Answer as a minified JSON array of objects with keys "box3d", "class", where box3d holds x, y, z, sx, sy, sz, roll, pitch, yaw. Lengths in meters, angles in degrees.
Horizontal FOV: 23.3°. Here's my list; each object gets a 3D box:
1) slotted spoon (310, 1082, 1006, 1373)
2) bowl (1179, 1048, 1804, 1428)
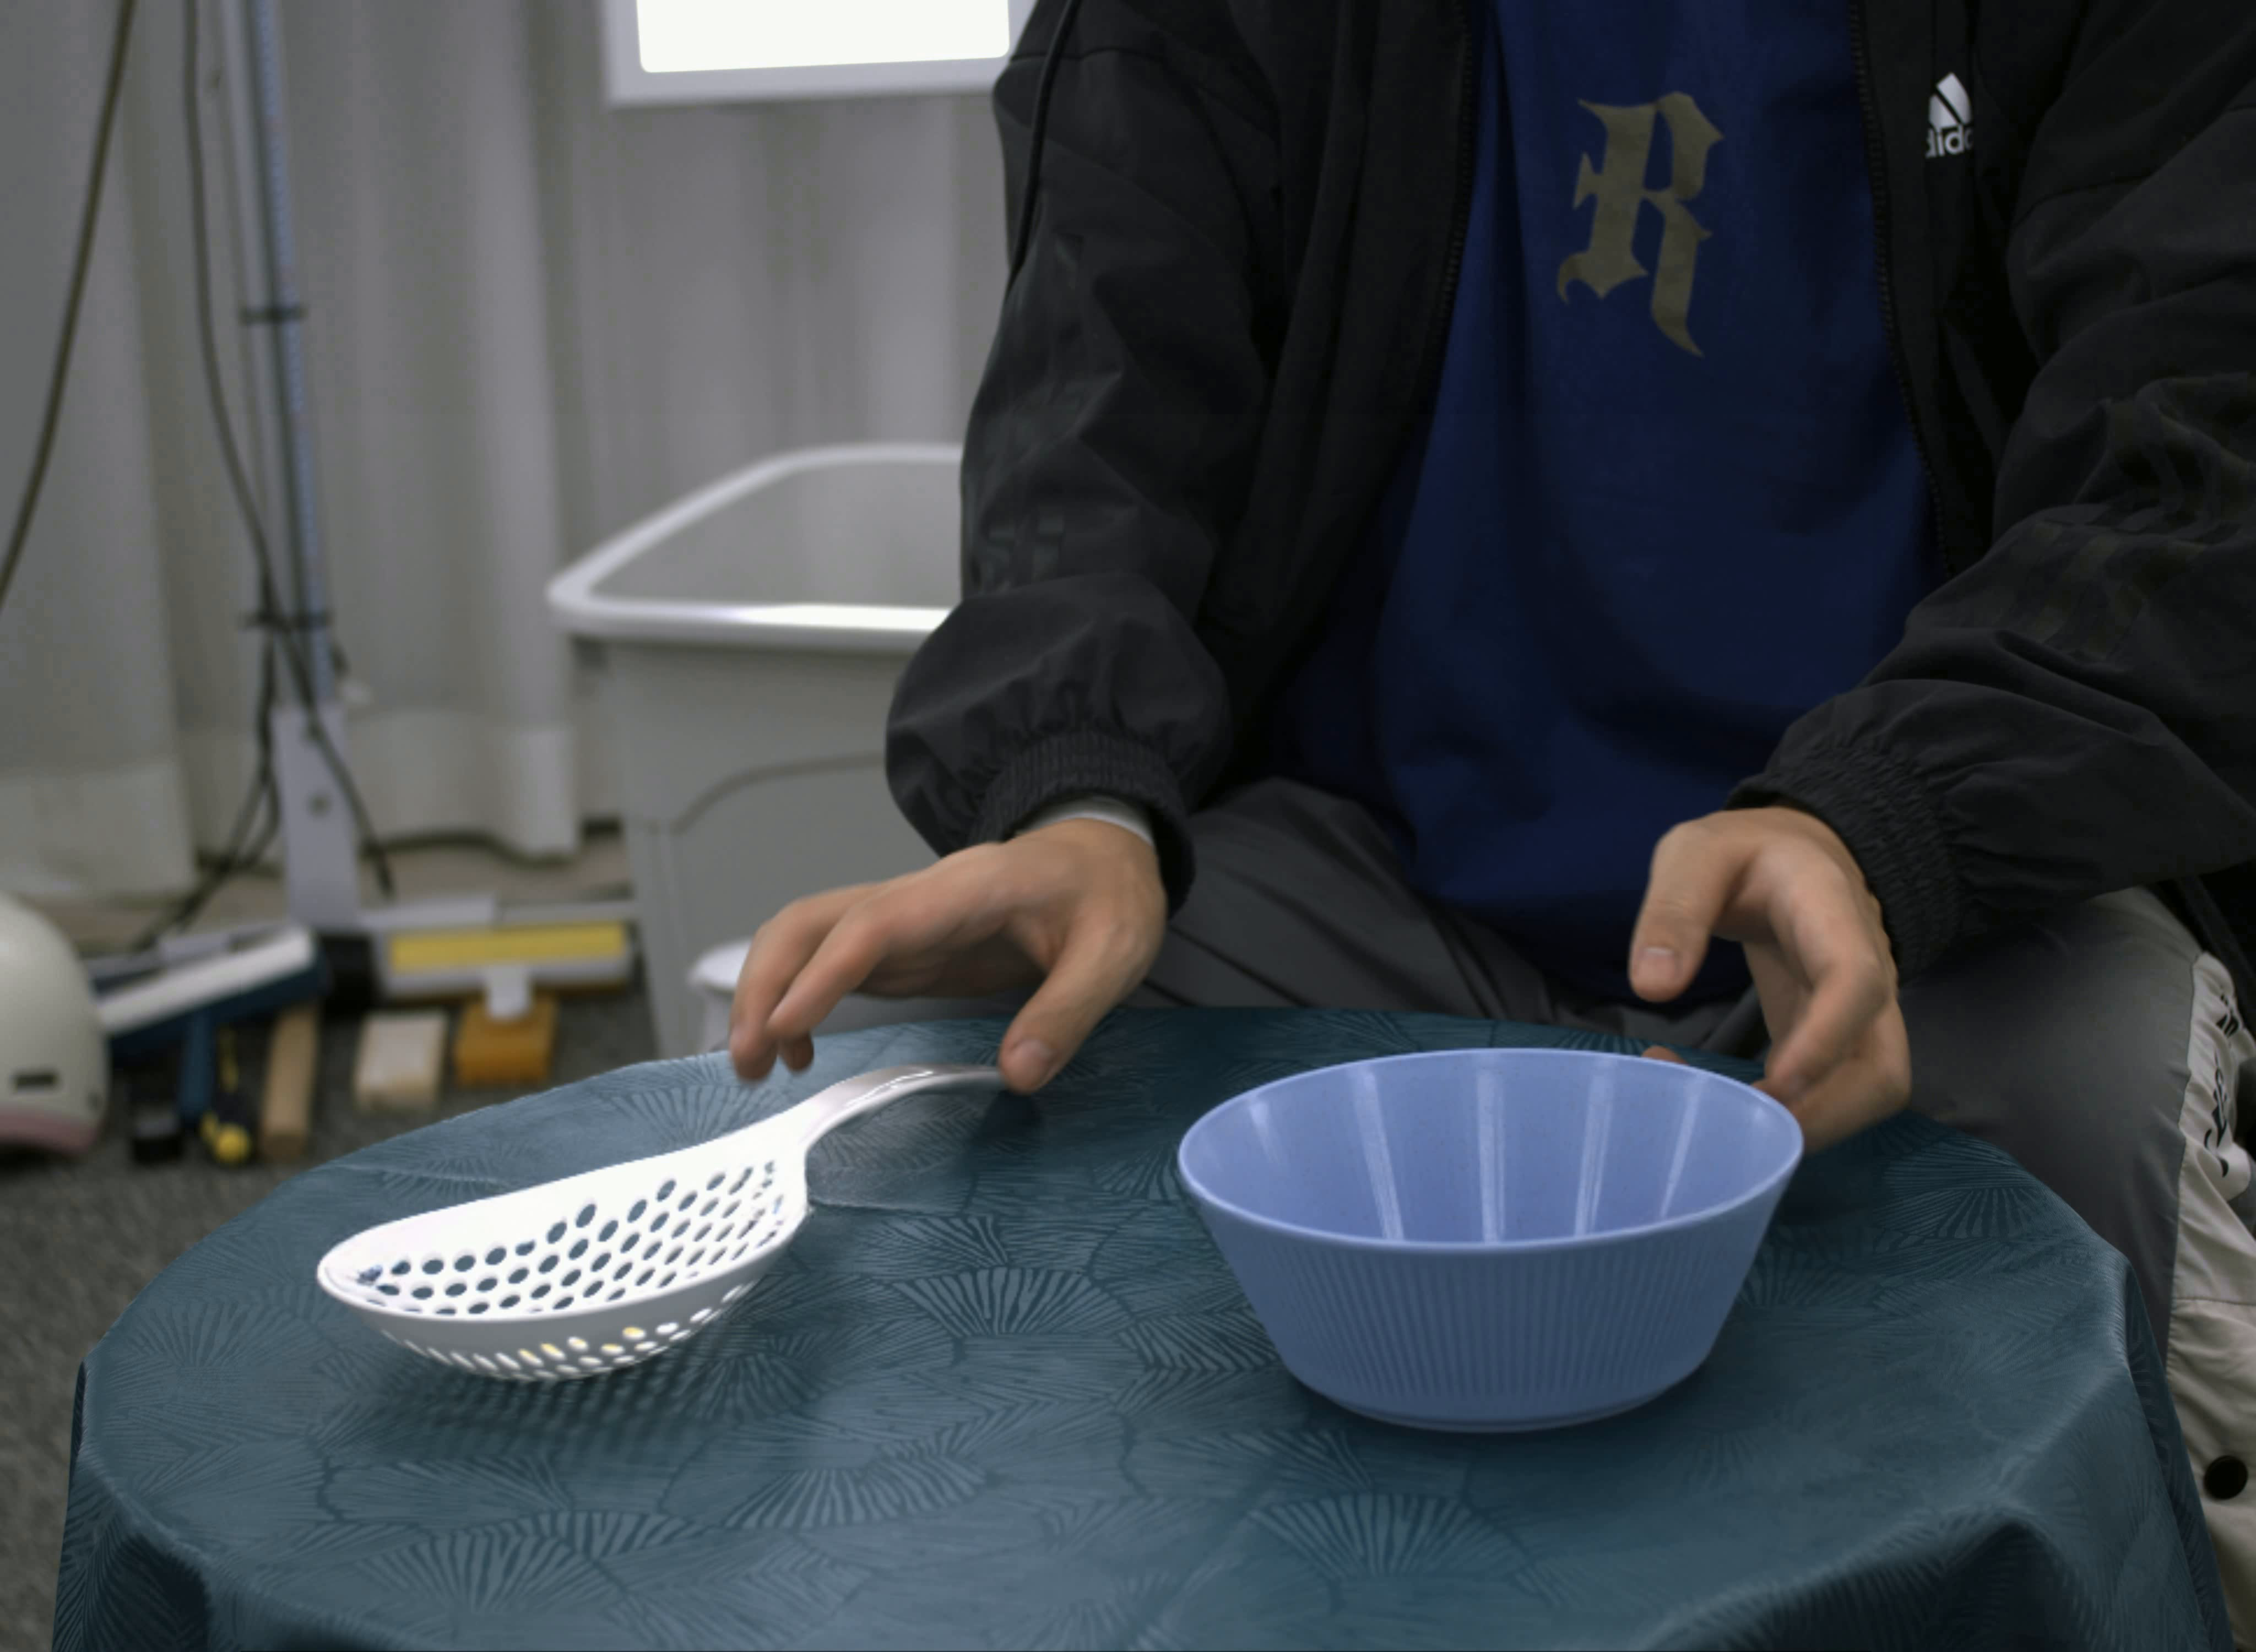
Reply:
[{"box3d":[-0.115,0.109,1.671,0.137,0.050,0.348,-3,13,27],"class":"slotted spoon"},{"box3d":[0.102,0.119,1.540,0.175,0.070,0.177,-2,14,0],"class":"bowl"}]
